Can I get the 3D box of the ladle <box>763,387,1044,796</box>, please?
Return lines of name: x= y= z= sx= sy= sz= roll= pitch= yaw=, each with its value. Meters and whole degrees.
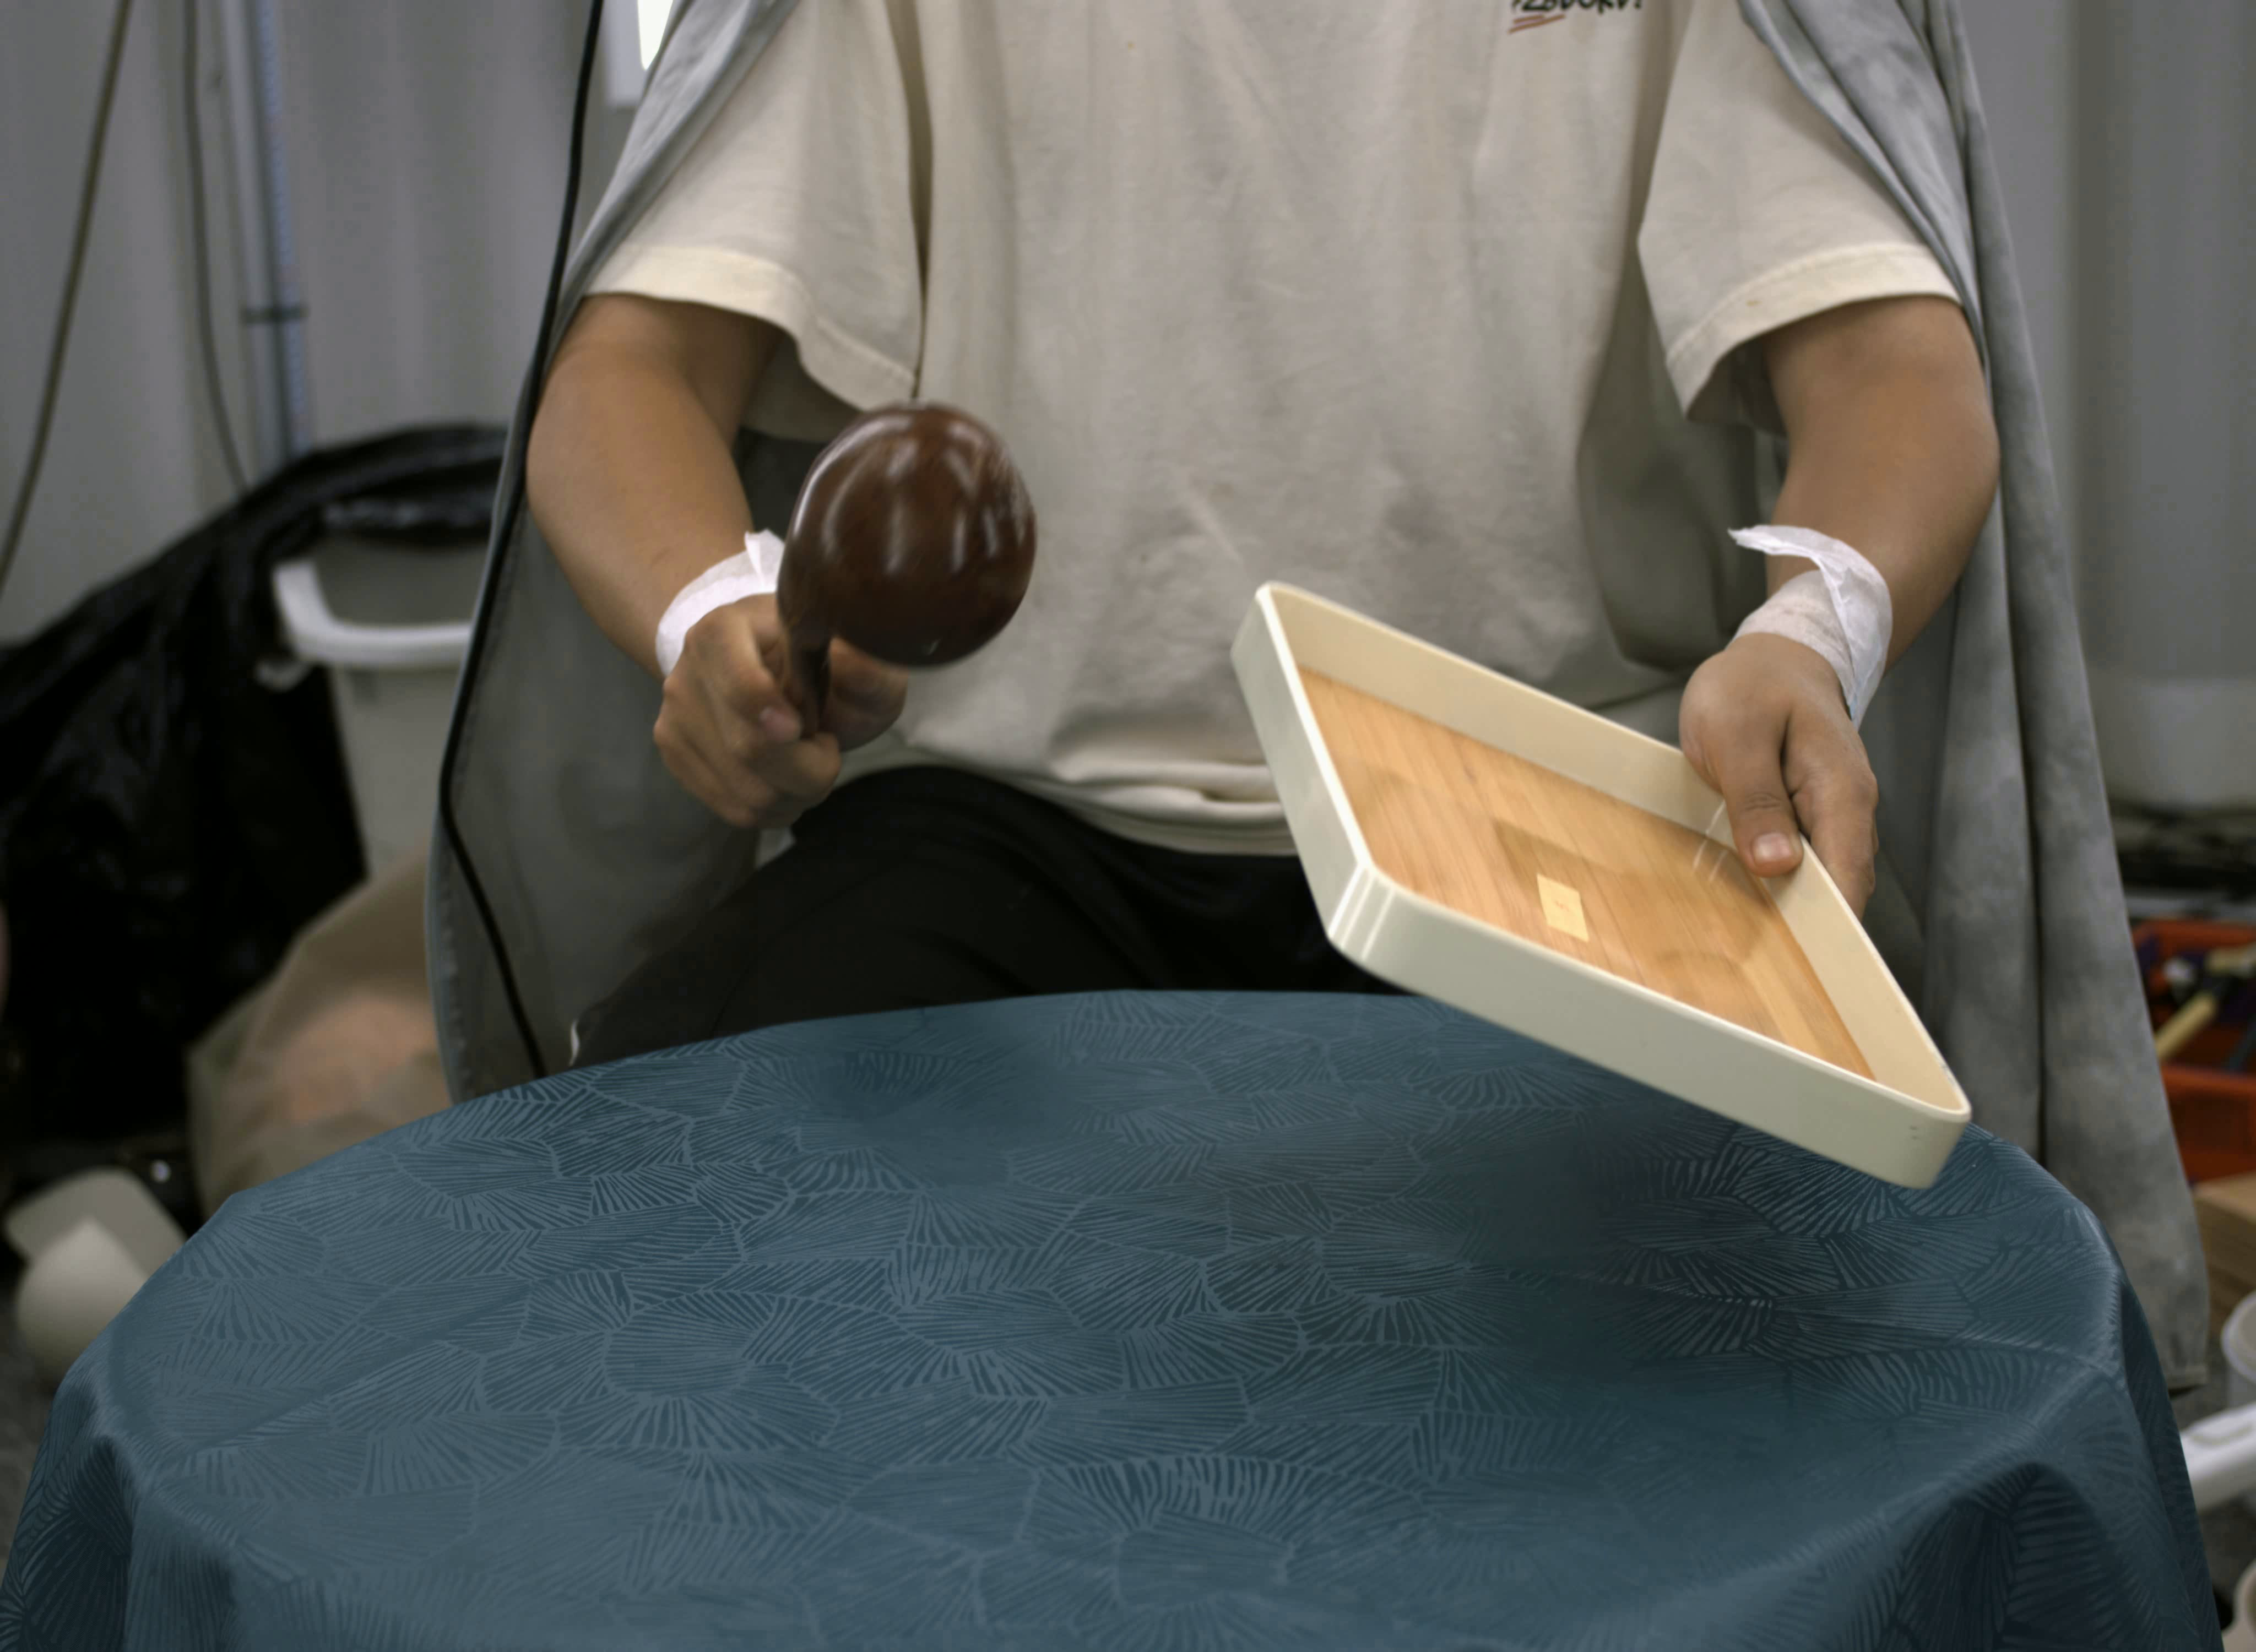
ladle: x=-0.075 y=-0.065 z=1.742 sx=0.076 sy=0.082 sz=0.272 roll=-11 pitch=-13 yaw=-8

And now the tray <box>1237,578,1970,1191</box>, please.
tray: x=0.134 y=0.012 z=1.630 sx=0.190 sy=0.027 sz=0.303 roll=23 pitch=15 yaw=-11
